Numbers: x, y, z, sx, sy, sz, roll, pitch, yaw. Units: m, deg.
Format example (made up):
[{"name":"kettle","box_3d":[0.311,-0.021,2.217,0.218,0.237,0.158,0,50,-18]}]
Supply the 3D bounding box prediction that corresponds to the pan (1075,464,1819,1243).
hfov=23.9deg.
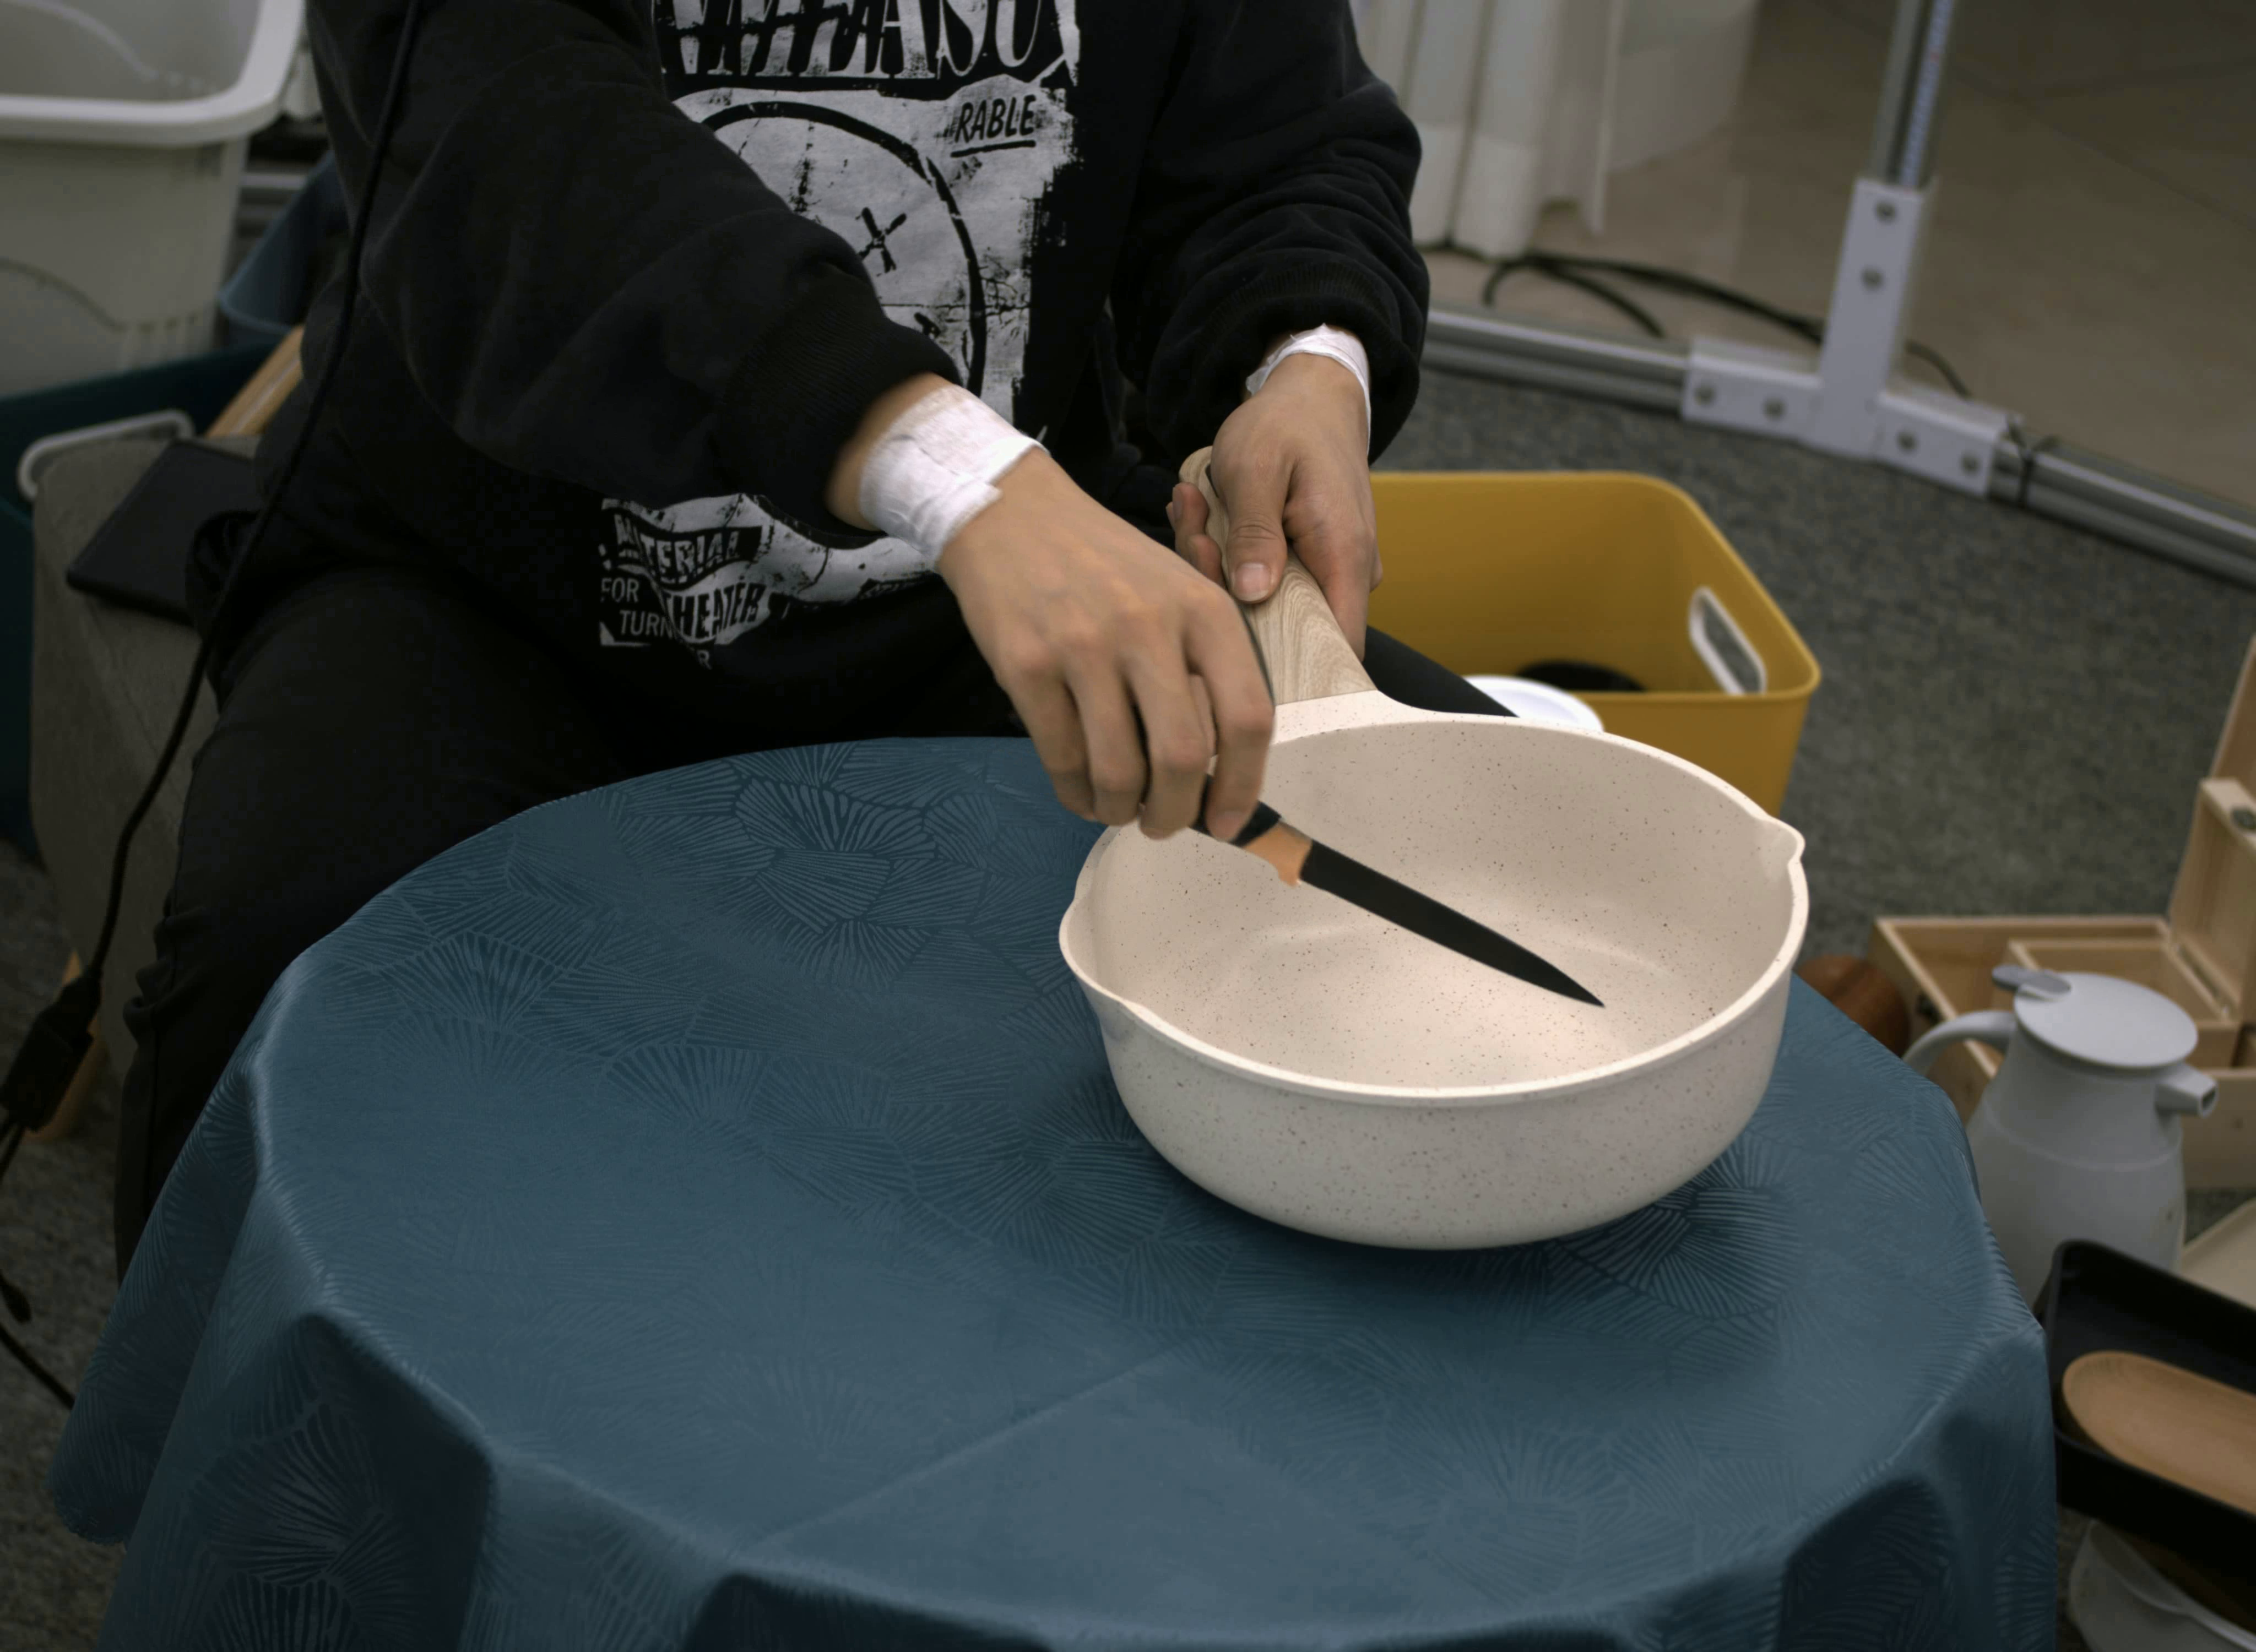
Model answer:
[{"name":"pan","box_3d":[0.089,0.005,1.915,0.262,0.101,0.438,-11,31,-10]}]

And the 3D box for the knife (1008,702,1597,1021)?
[{"name":"knife","box_3d":[0.060,0.012,1.815,0.225,0.026,0.017,26,42,5]}]
